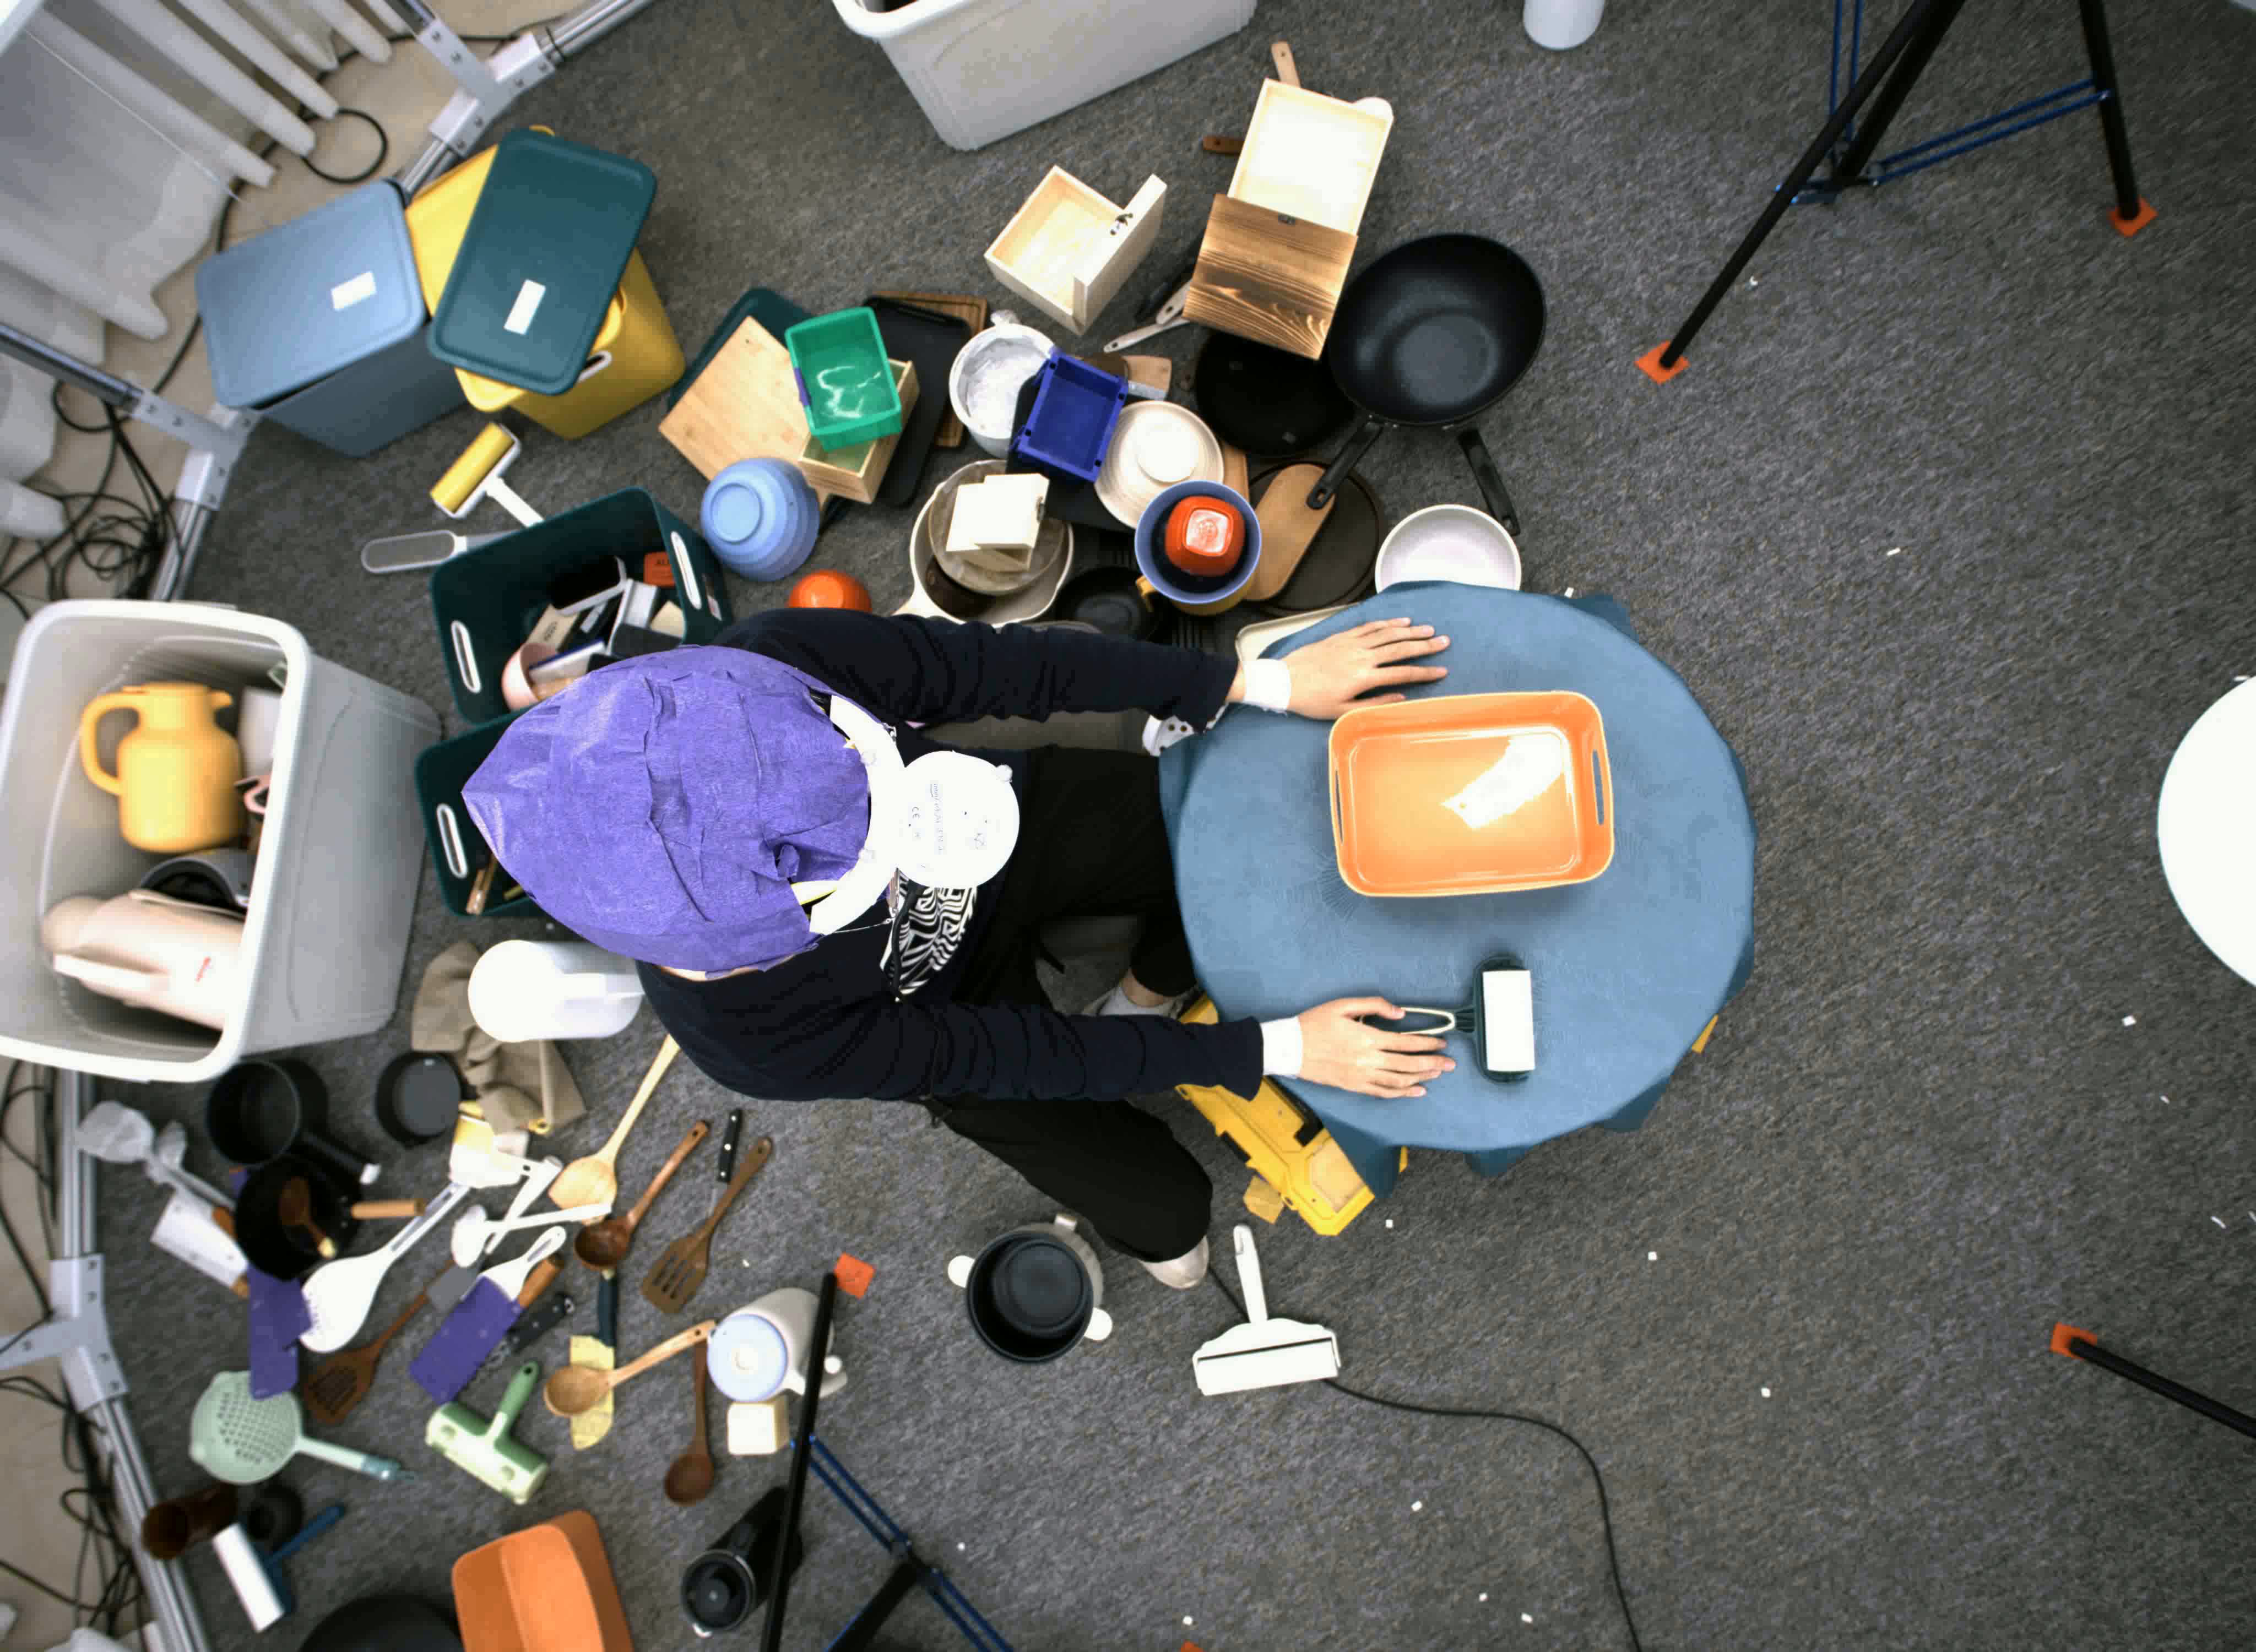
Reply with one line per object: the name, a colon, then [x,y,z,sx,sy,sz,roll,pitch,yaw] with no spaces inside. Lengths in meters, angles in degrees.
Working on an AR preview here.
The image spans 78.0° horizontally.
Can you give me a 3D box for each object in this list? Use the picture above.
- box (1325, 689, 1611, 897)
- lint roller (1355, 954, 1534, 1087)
box: [0.342,-0.028,1.398,0.274,0.102,0.198,-5,85,11]
lint roller: [0.323,0.200,1.423,0.181,0.048,0.134,-3,87,15]
